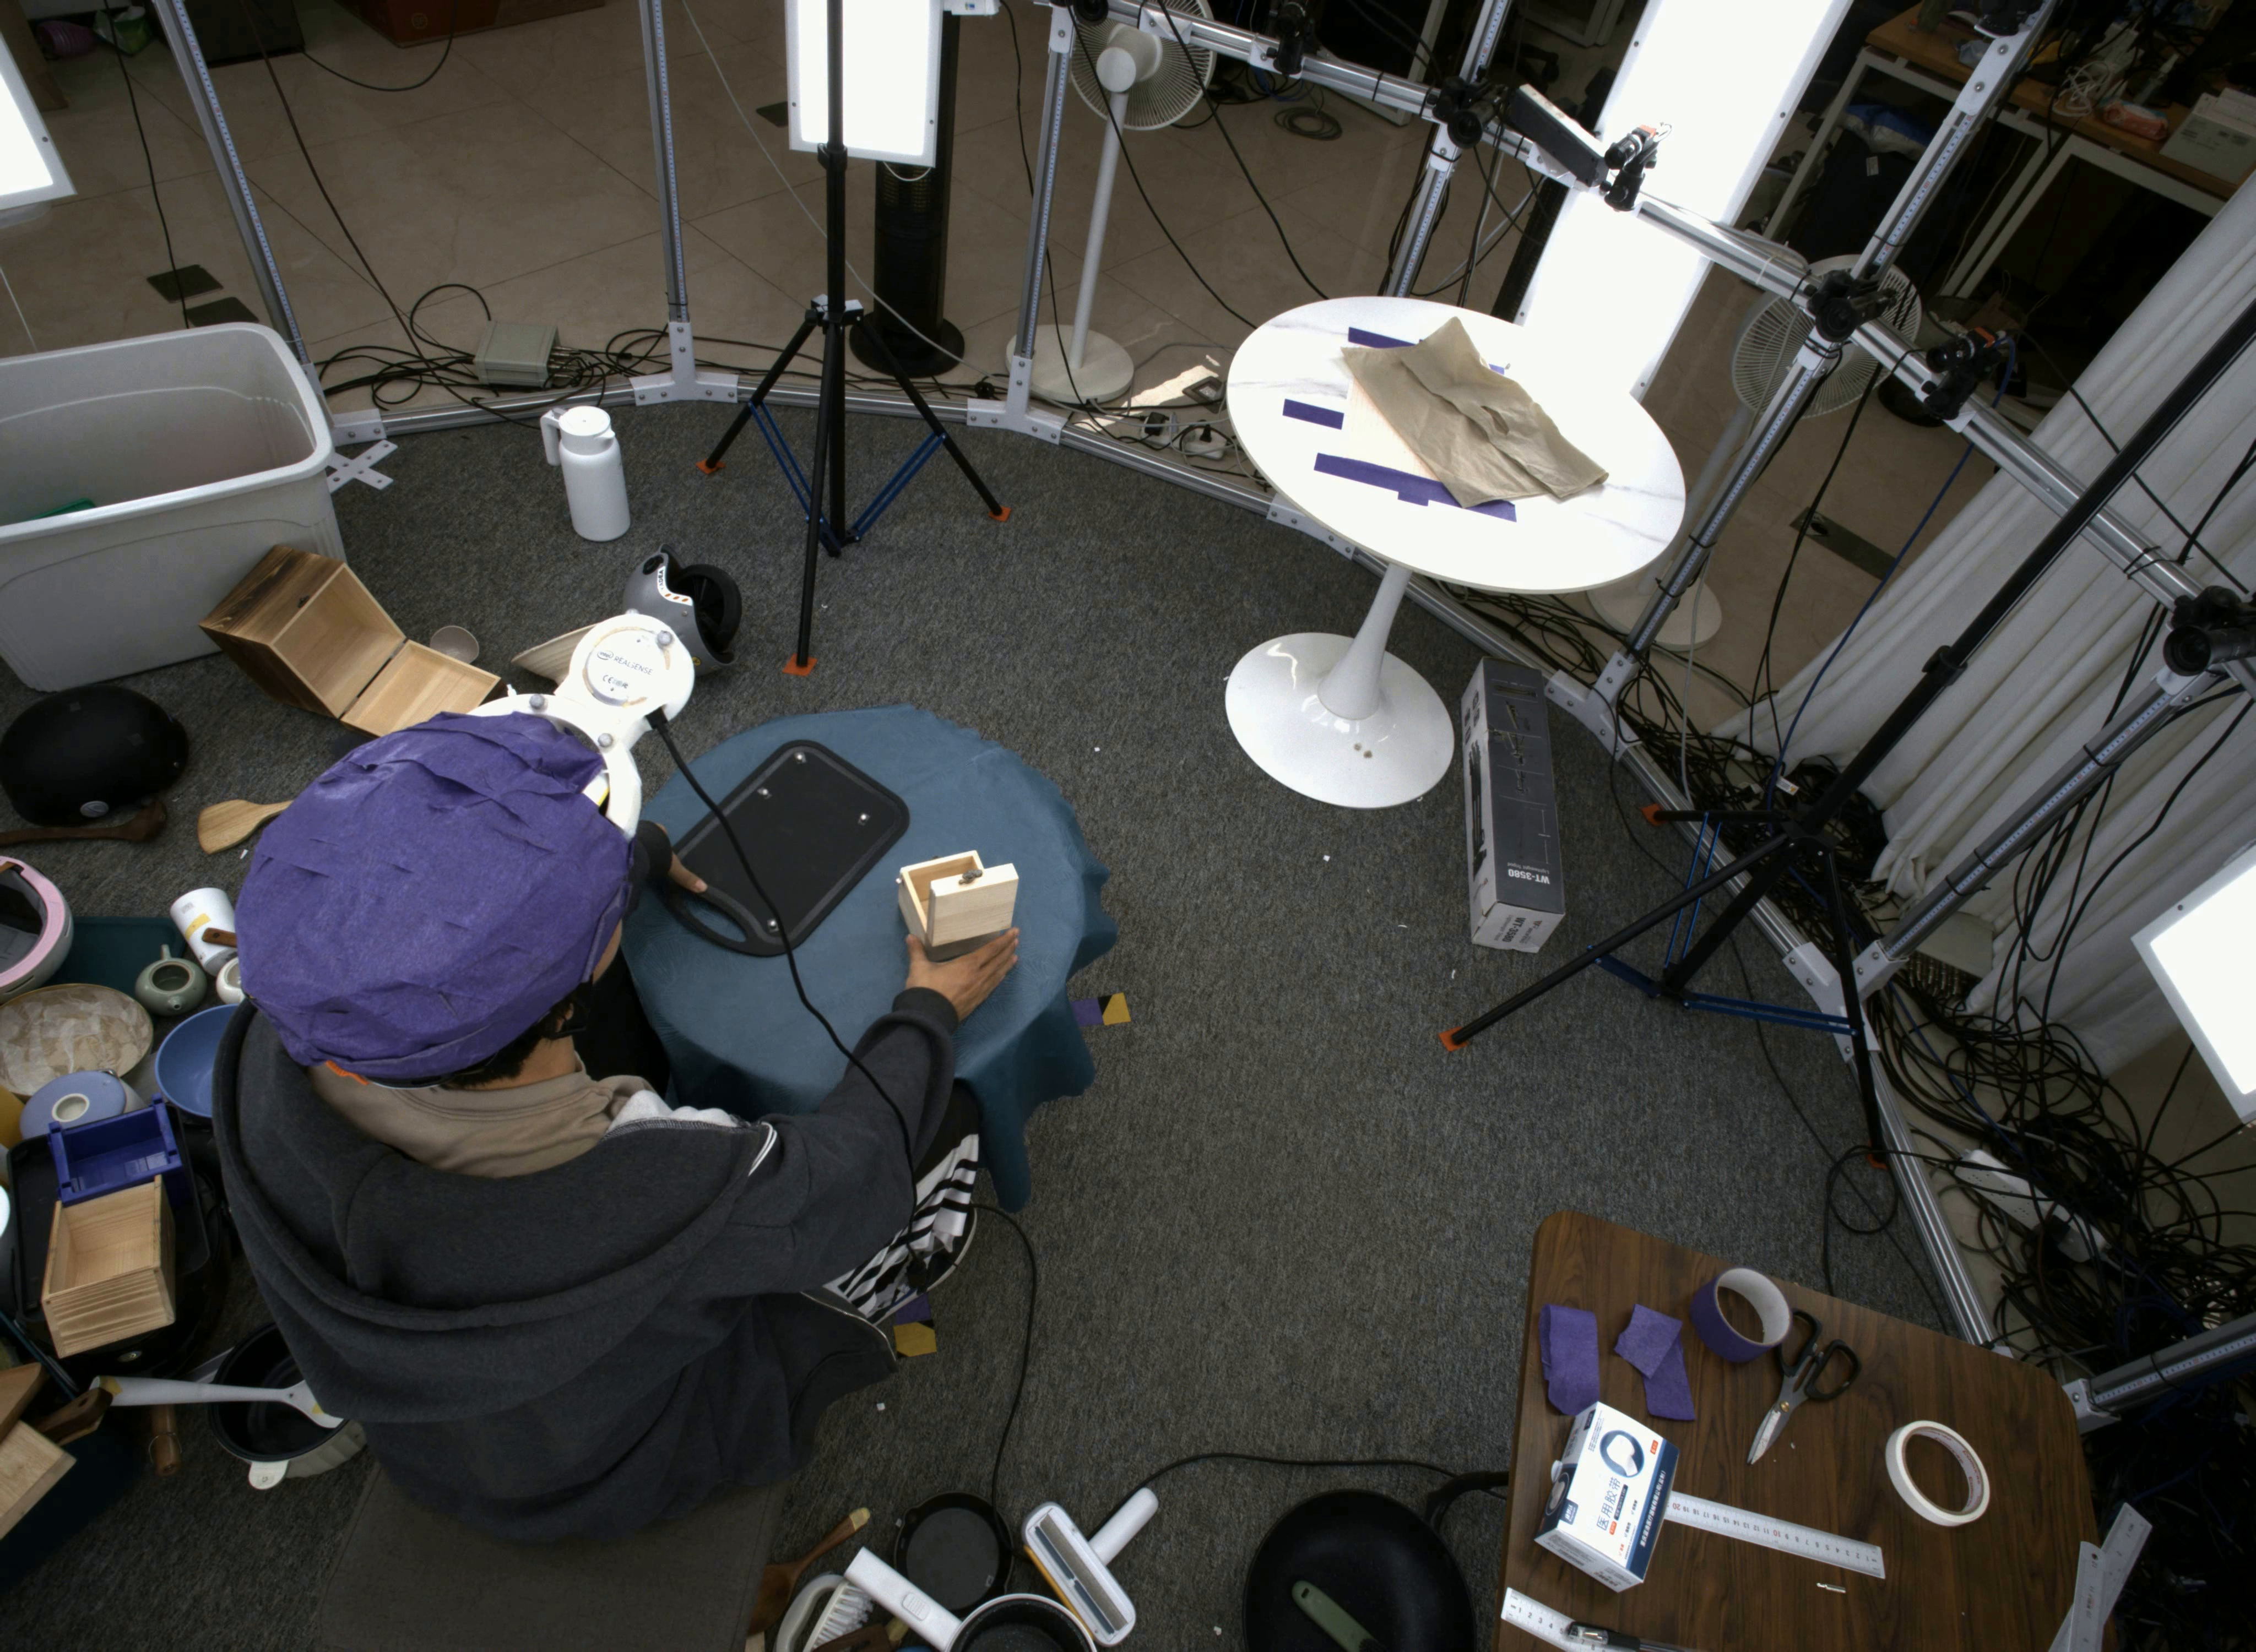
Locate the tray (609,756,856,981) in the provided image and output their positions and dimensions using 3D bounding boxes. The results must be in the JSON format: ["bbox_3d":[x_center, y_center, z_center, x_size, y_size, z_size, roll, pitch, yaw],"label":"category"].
[{"bbox_3d":[-0.506,0.050,1.651,0.210,0.010,0.324,32,53,1],"label":"tray"}]

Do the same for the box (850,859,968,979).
[{"bbox_3d":[-0.270,0.088,1.583,0.103,0.188,0.130,-18,59,-25],"label":"box"}]
